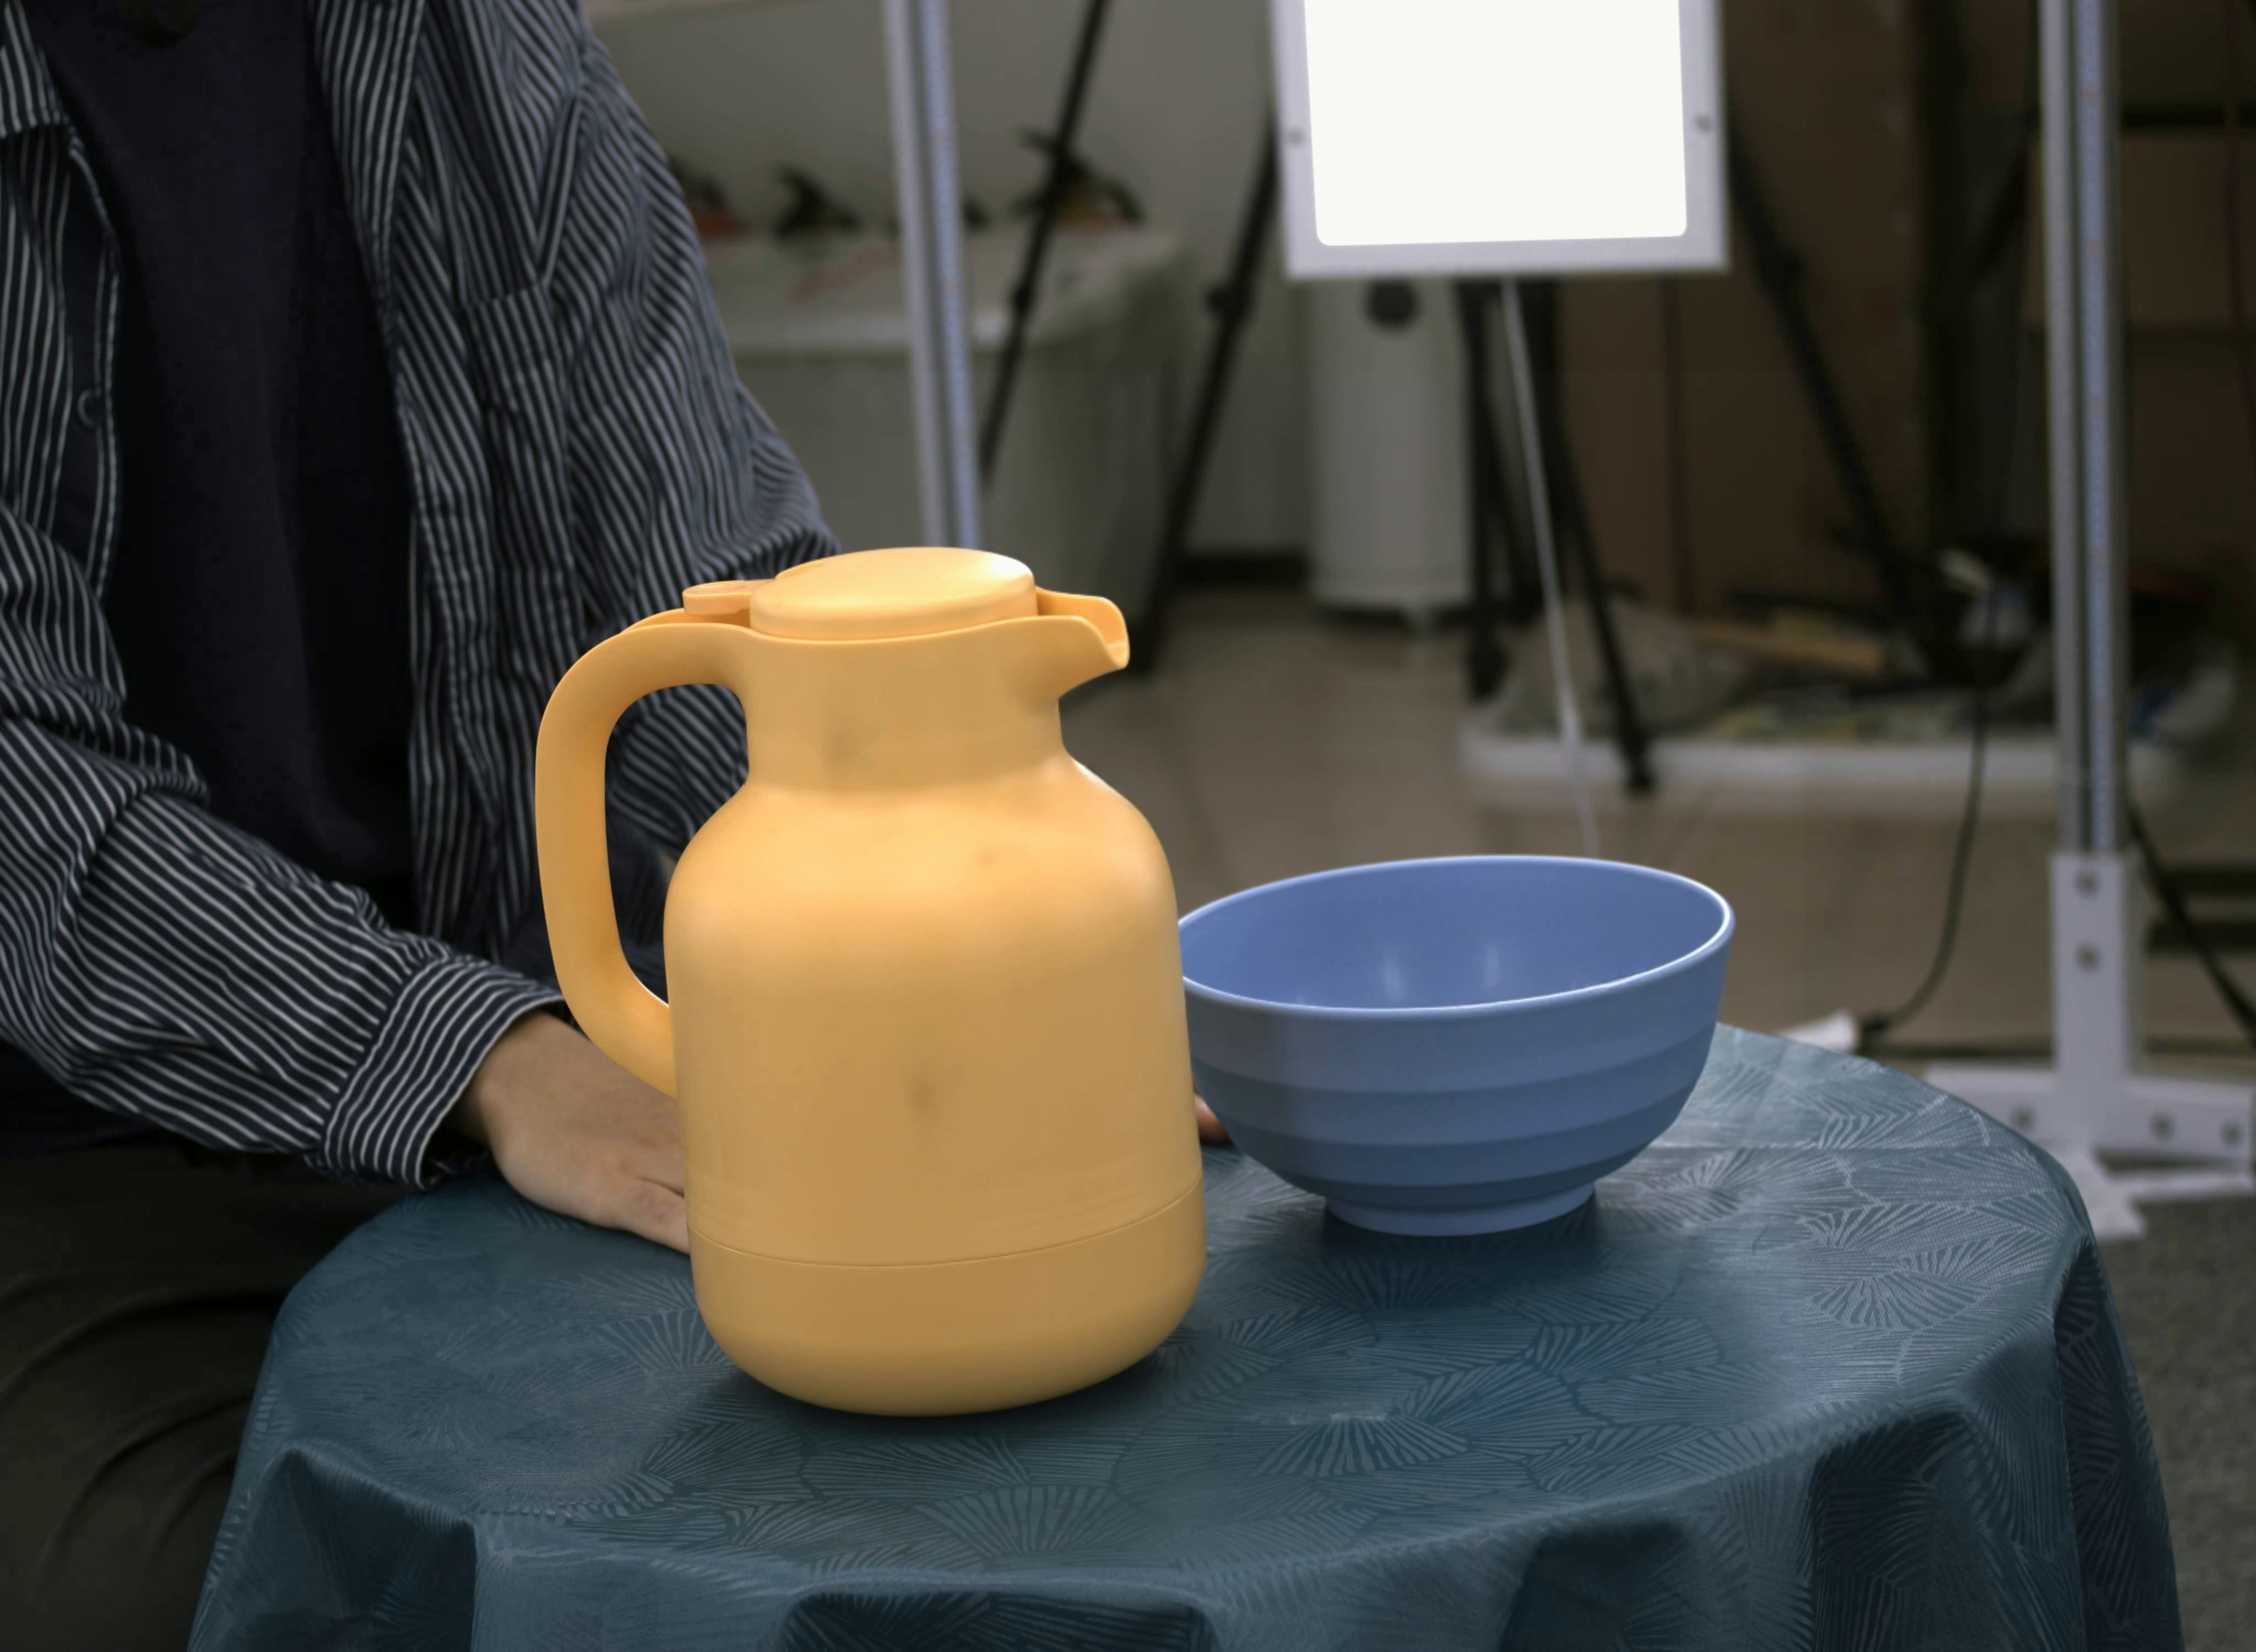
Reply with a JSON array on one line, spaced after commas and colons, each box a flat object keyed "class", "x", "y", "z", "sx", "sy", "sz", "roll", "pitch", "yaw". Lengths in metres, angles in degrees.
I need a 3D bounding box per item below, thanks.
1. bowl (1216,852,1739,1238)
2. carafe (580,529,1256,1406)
[{"class": "bowl", "x": 0.109, "y": 0.079, "z": 1.847, "sx": 0.196, "sy": 0.096, "sz": 0.196, "roll": -5, "pitch": 14, "yaw": 0}, {"class": "carafe", "x": -0.067, "y": 0.040, "z": 1.723, "sx": 0.205, "sy": 0.261, "sz": 0.161, "roll": -1, "pitch": 15, "yaw": 18}]
